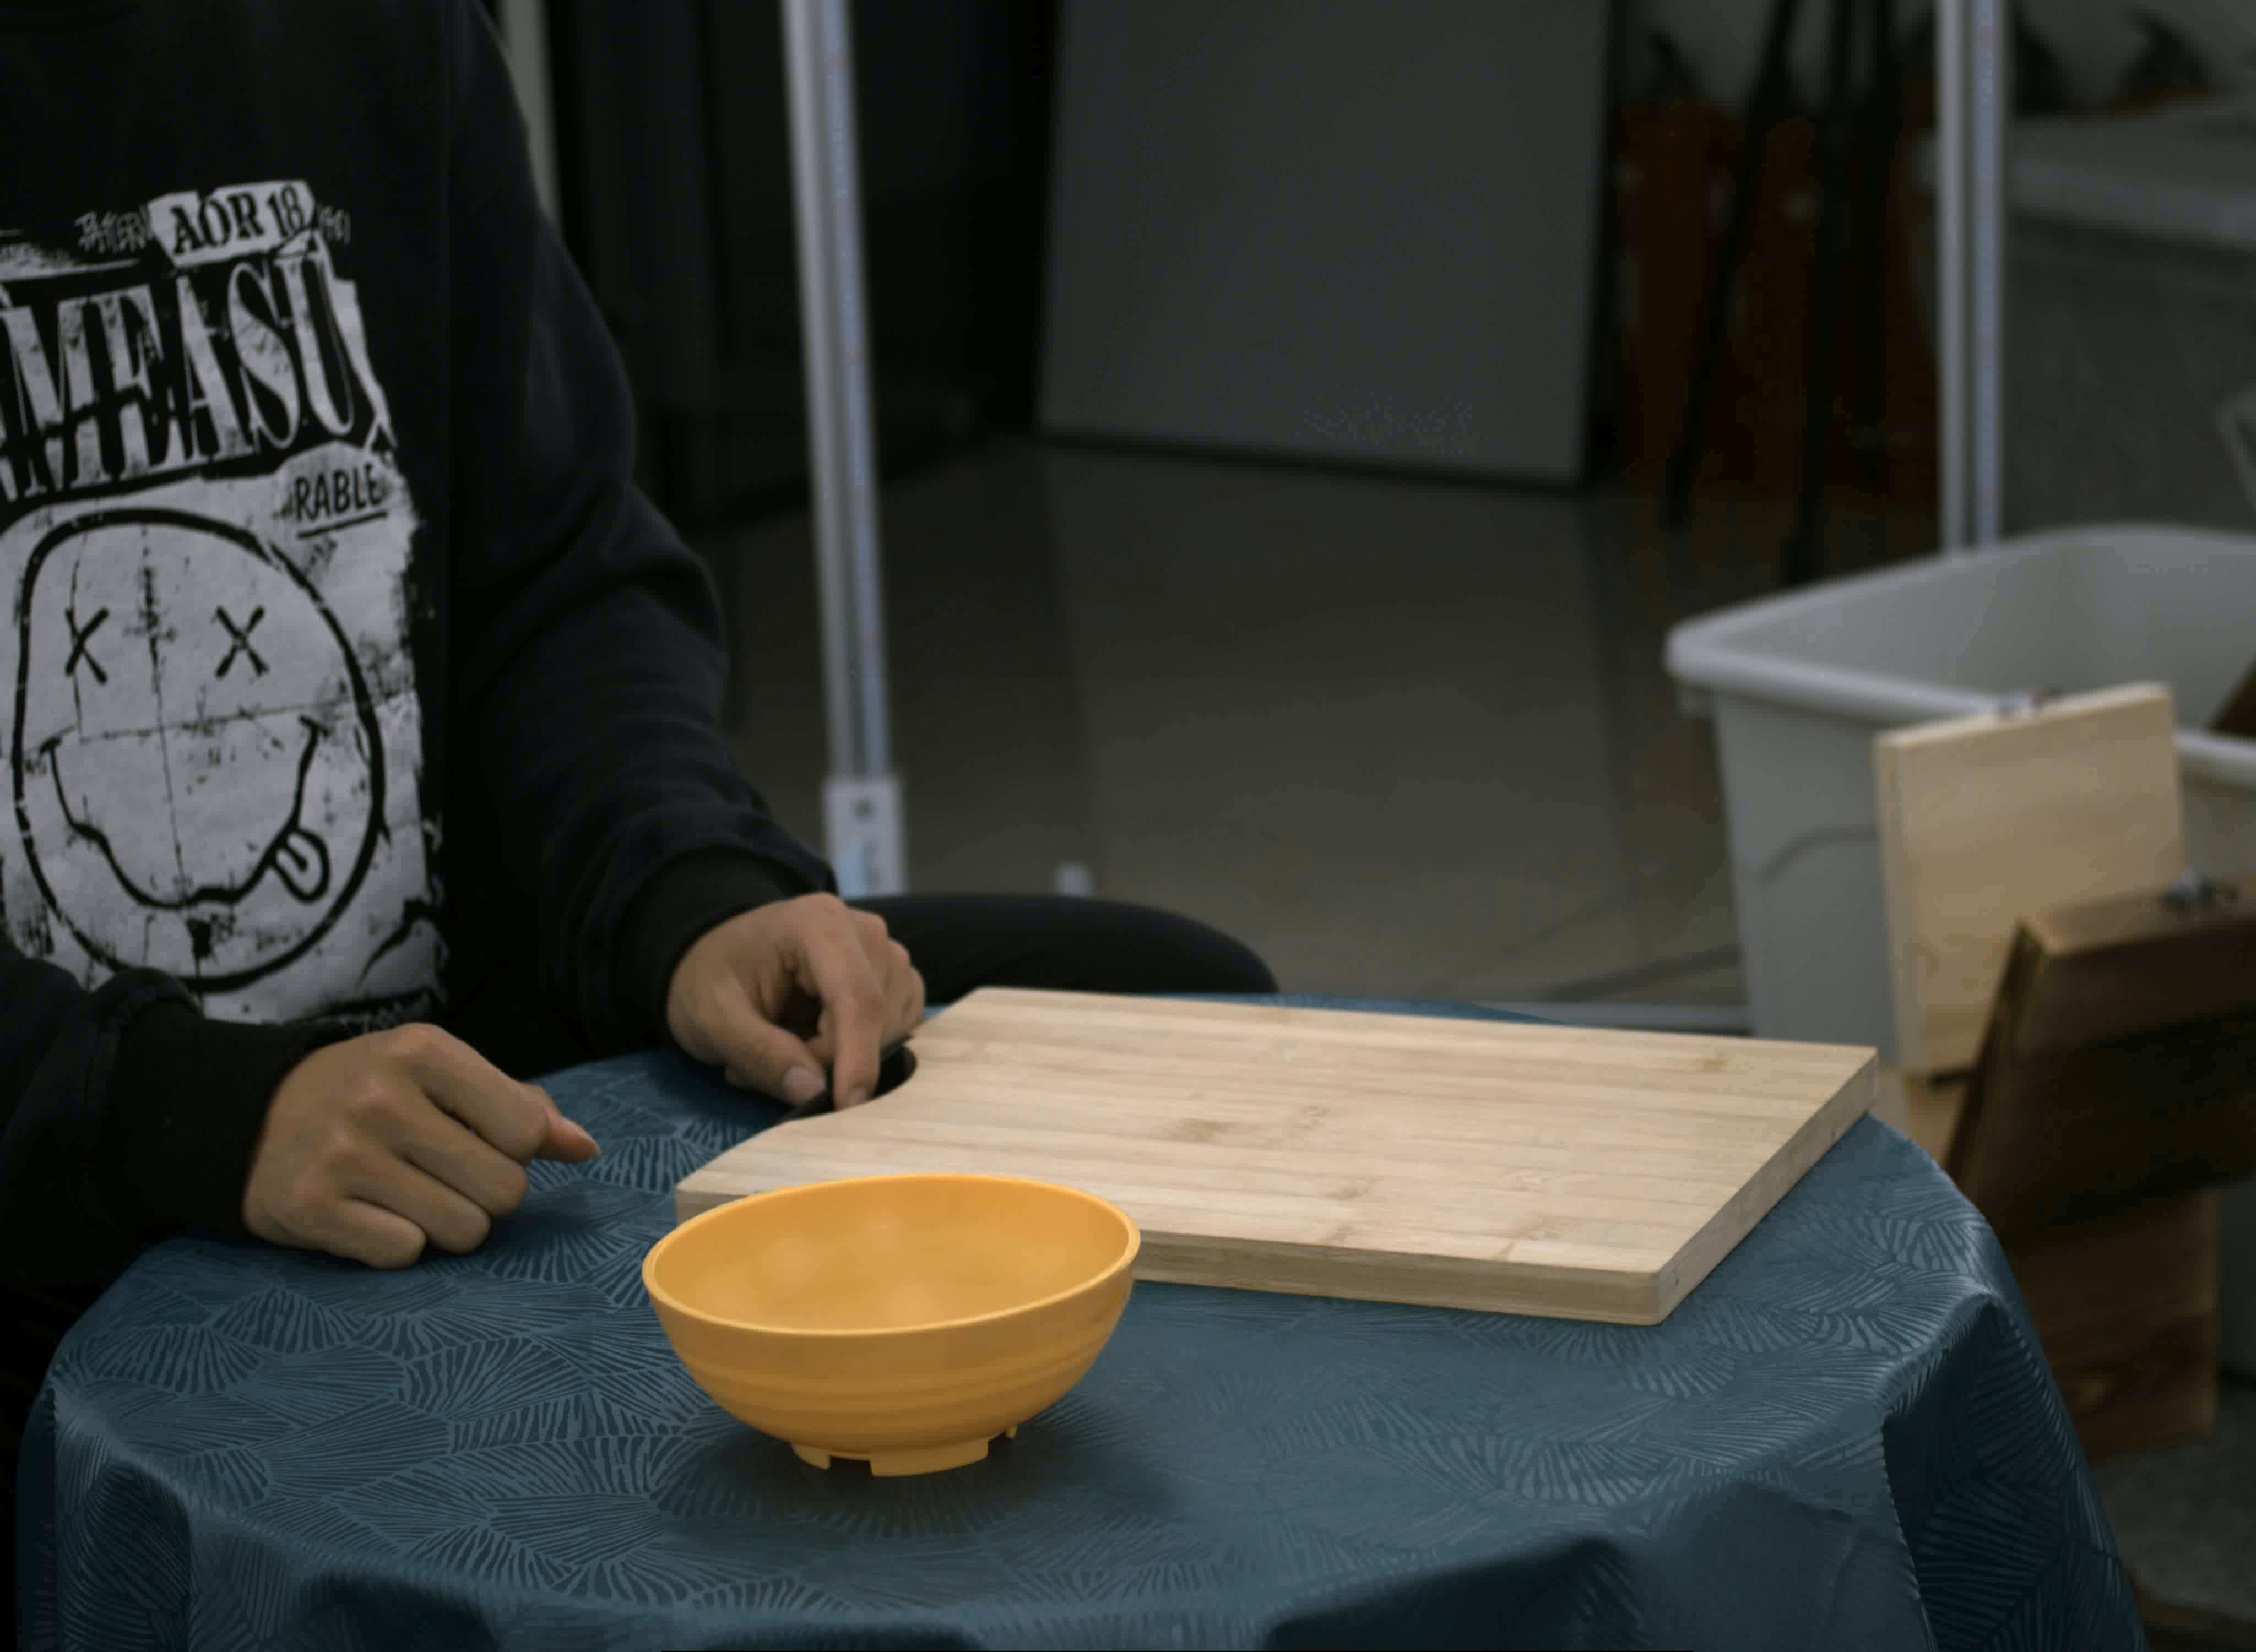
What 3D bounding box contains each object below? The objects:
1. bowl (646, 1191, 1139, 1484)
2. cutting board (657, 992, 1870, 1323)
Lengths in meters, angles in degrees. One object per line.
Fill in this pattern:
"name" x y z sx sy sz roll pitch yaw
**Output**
"bowl" -0.066 0.151 1.552 0.143 0.061 0.145 -3 11 0
"cutting board" 0.049 0.106 1.787 0.349 0.024 0.248 2 15 24
